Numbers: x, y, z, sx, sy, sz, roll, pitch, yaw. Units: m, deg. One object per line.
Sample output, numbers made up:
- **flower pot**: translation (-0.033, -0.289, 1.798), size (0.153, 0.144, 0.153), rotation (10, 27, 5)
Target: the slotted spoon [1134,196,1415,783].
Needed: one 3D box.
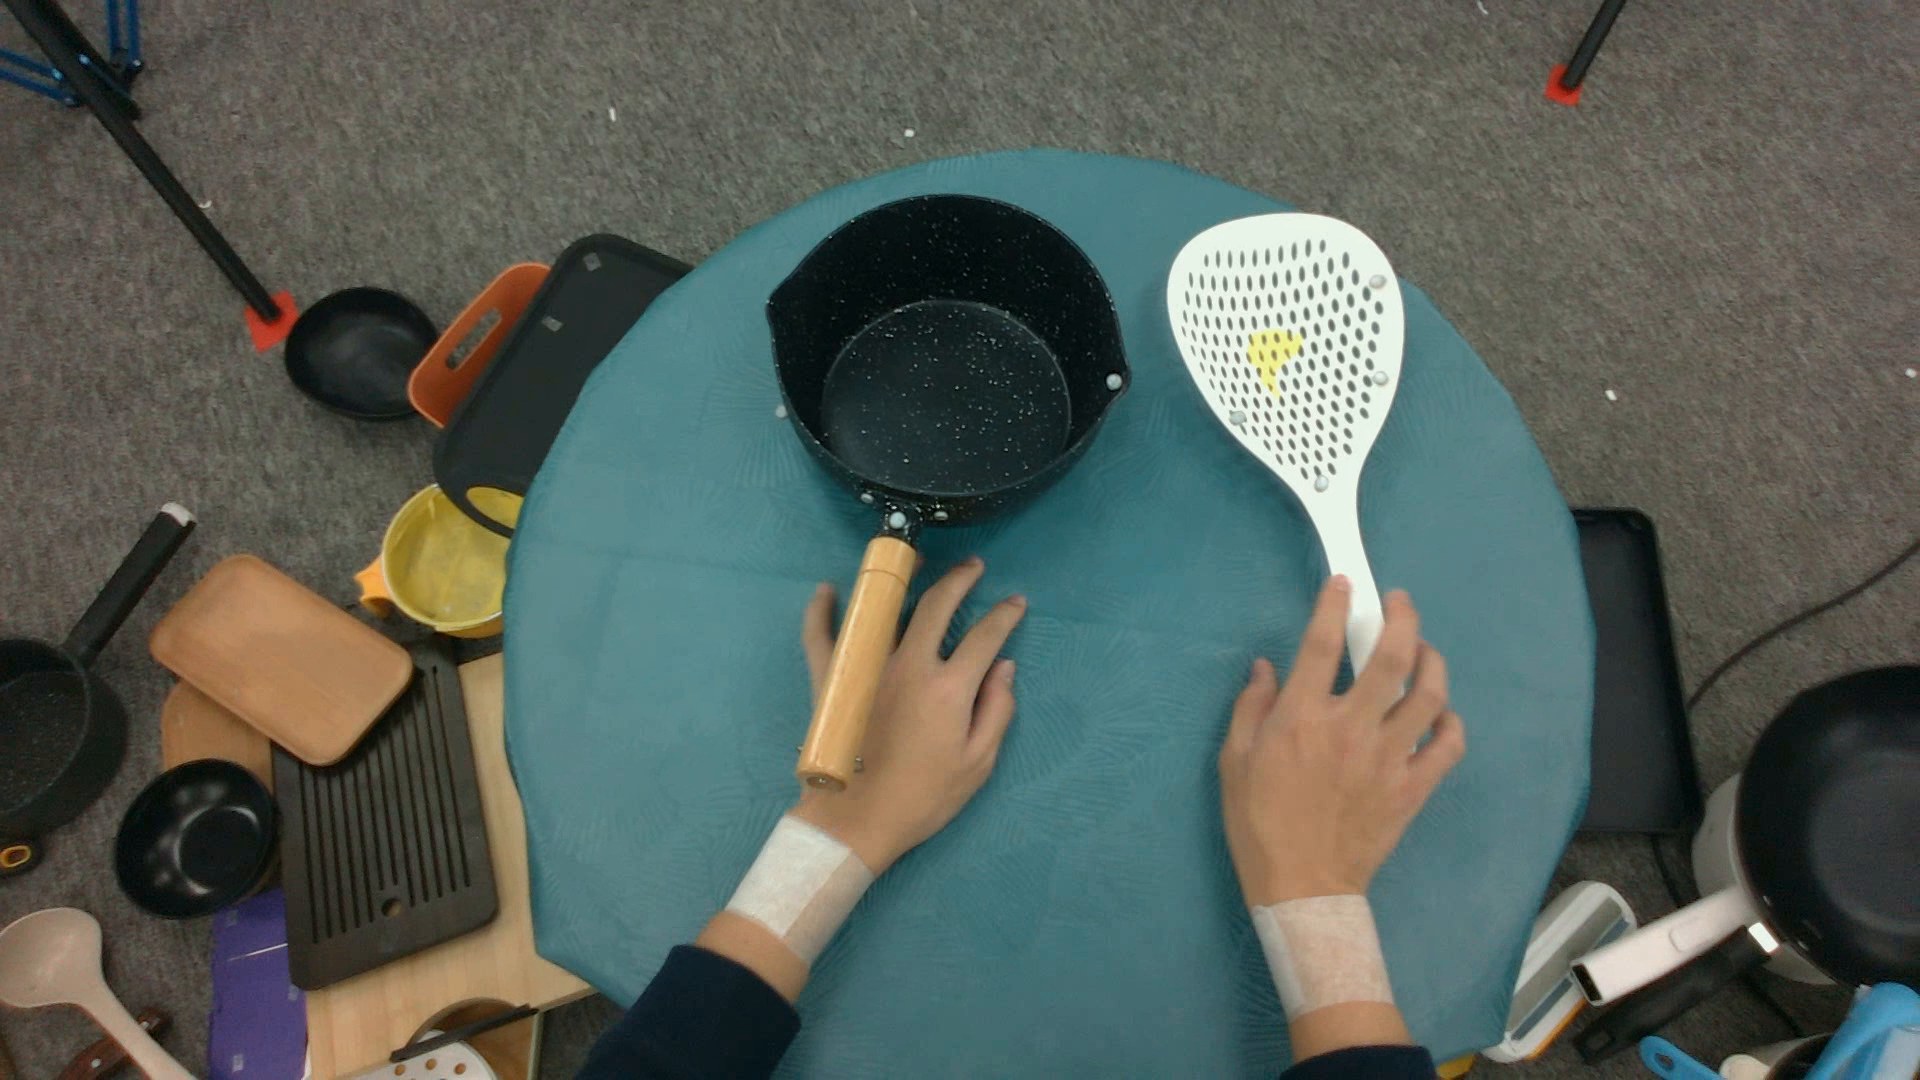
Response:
- **slotted spoon**: translation (0.191, -0.037, 0.770), size (0.137, 0.050, 0.349), rotation (-10, 67, -7)

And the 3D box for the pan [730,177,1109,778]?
- **pan**: translation (-0.037, -0.031, 0.725), size (0.207, 0.108, 0.344), rotation (11, 67, 1)
